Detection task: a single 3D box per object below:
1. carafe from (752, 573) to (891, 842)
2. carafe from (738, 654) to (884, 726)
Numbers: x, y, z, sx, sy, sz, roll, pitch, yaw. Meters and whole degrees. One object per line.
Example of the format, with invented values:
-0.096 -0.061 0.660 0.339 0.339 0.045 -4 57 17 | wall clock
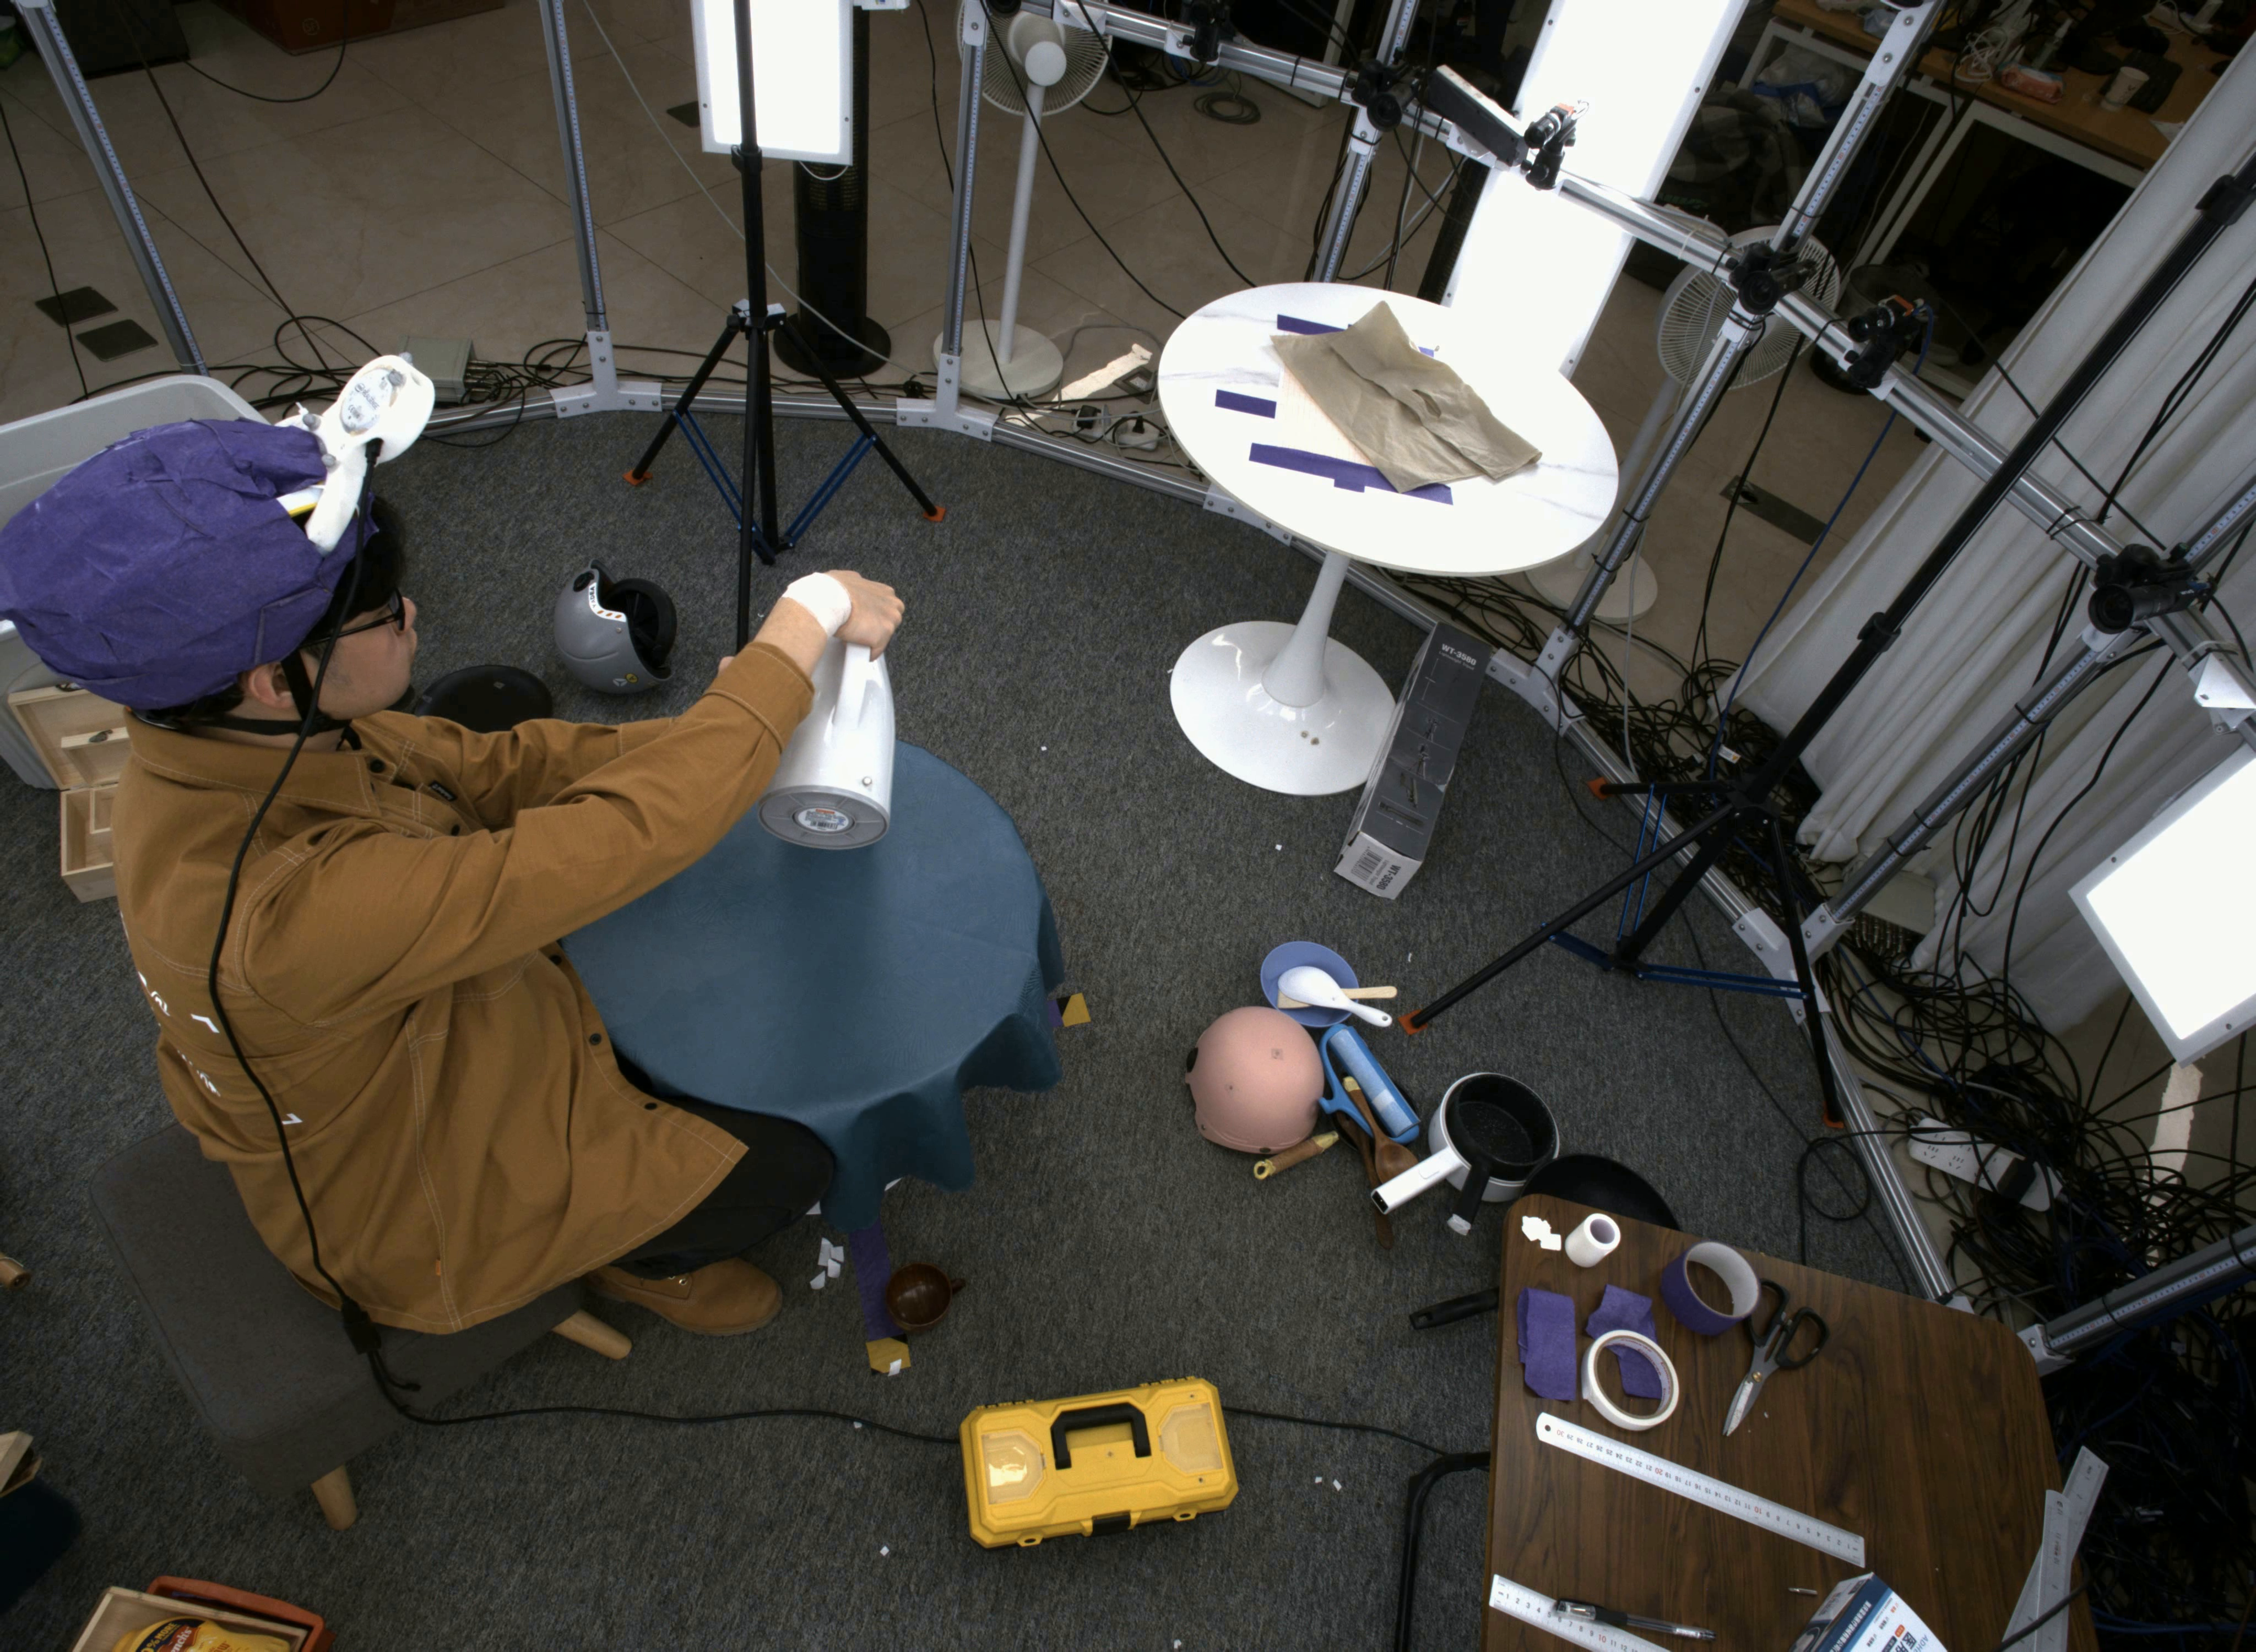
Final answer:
-0.301 -0.132 1.325 0.134 0.167 0.246 10 63 -22 | carafe
-0.385 -0.117 1.584 0.172 0.271 0.123 12 65 -7 | carafe
